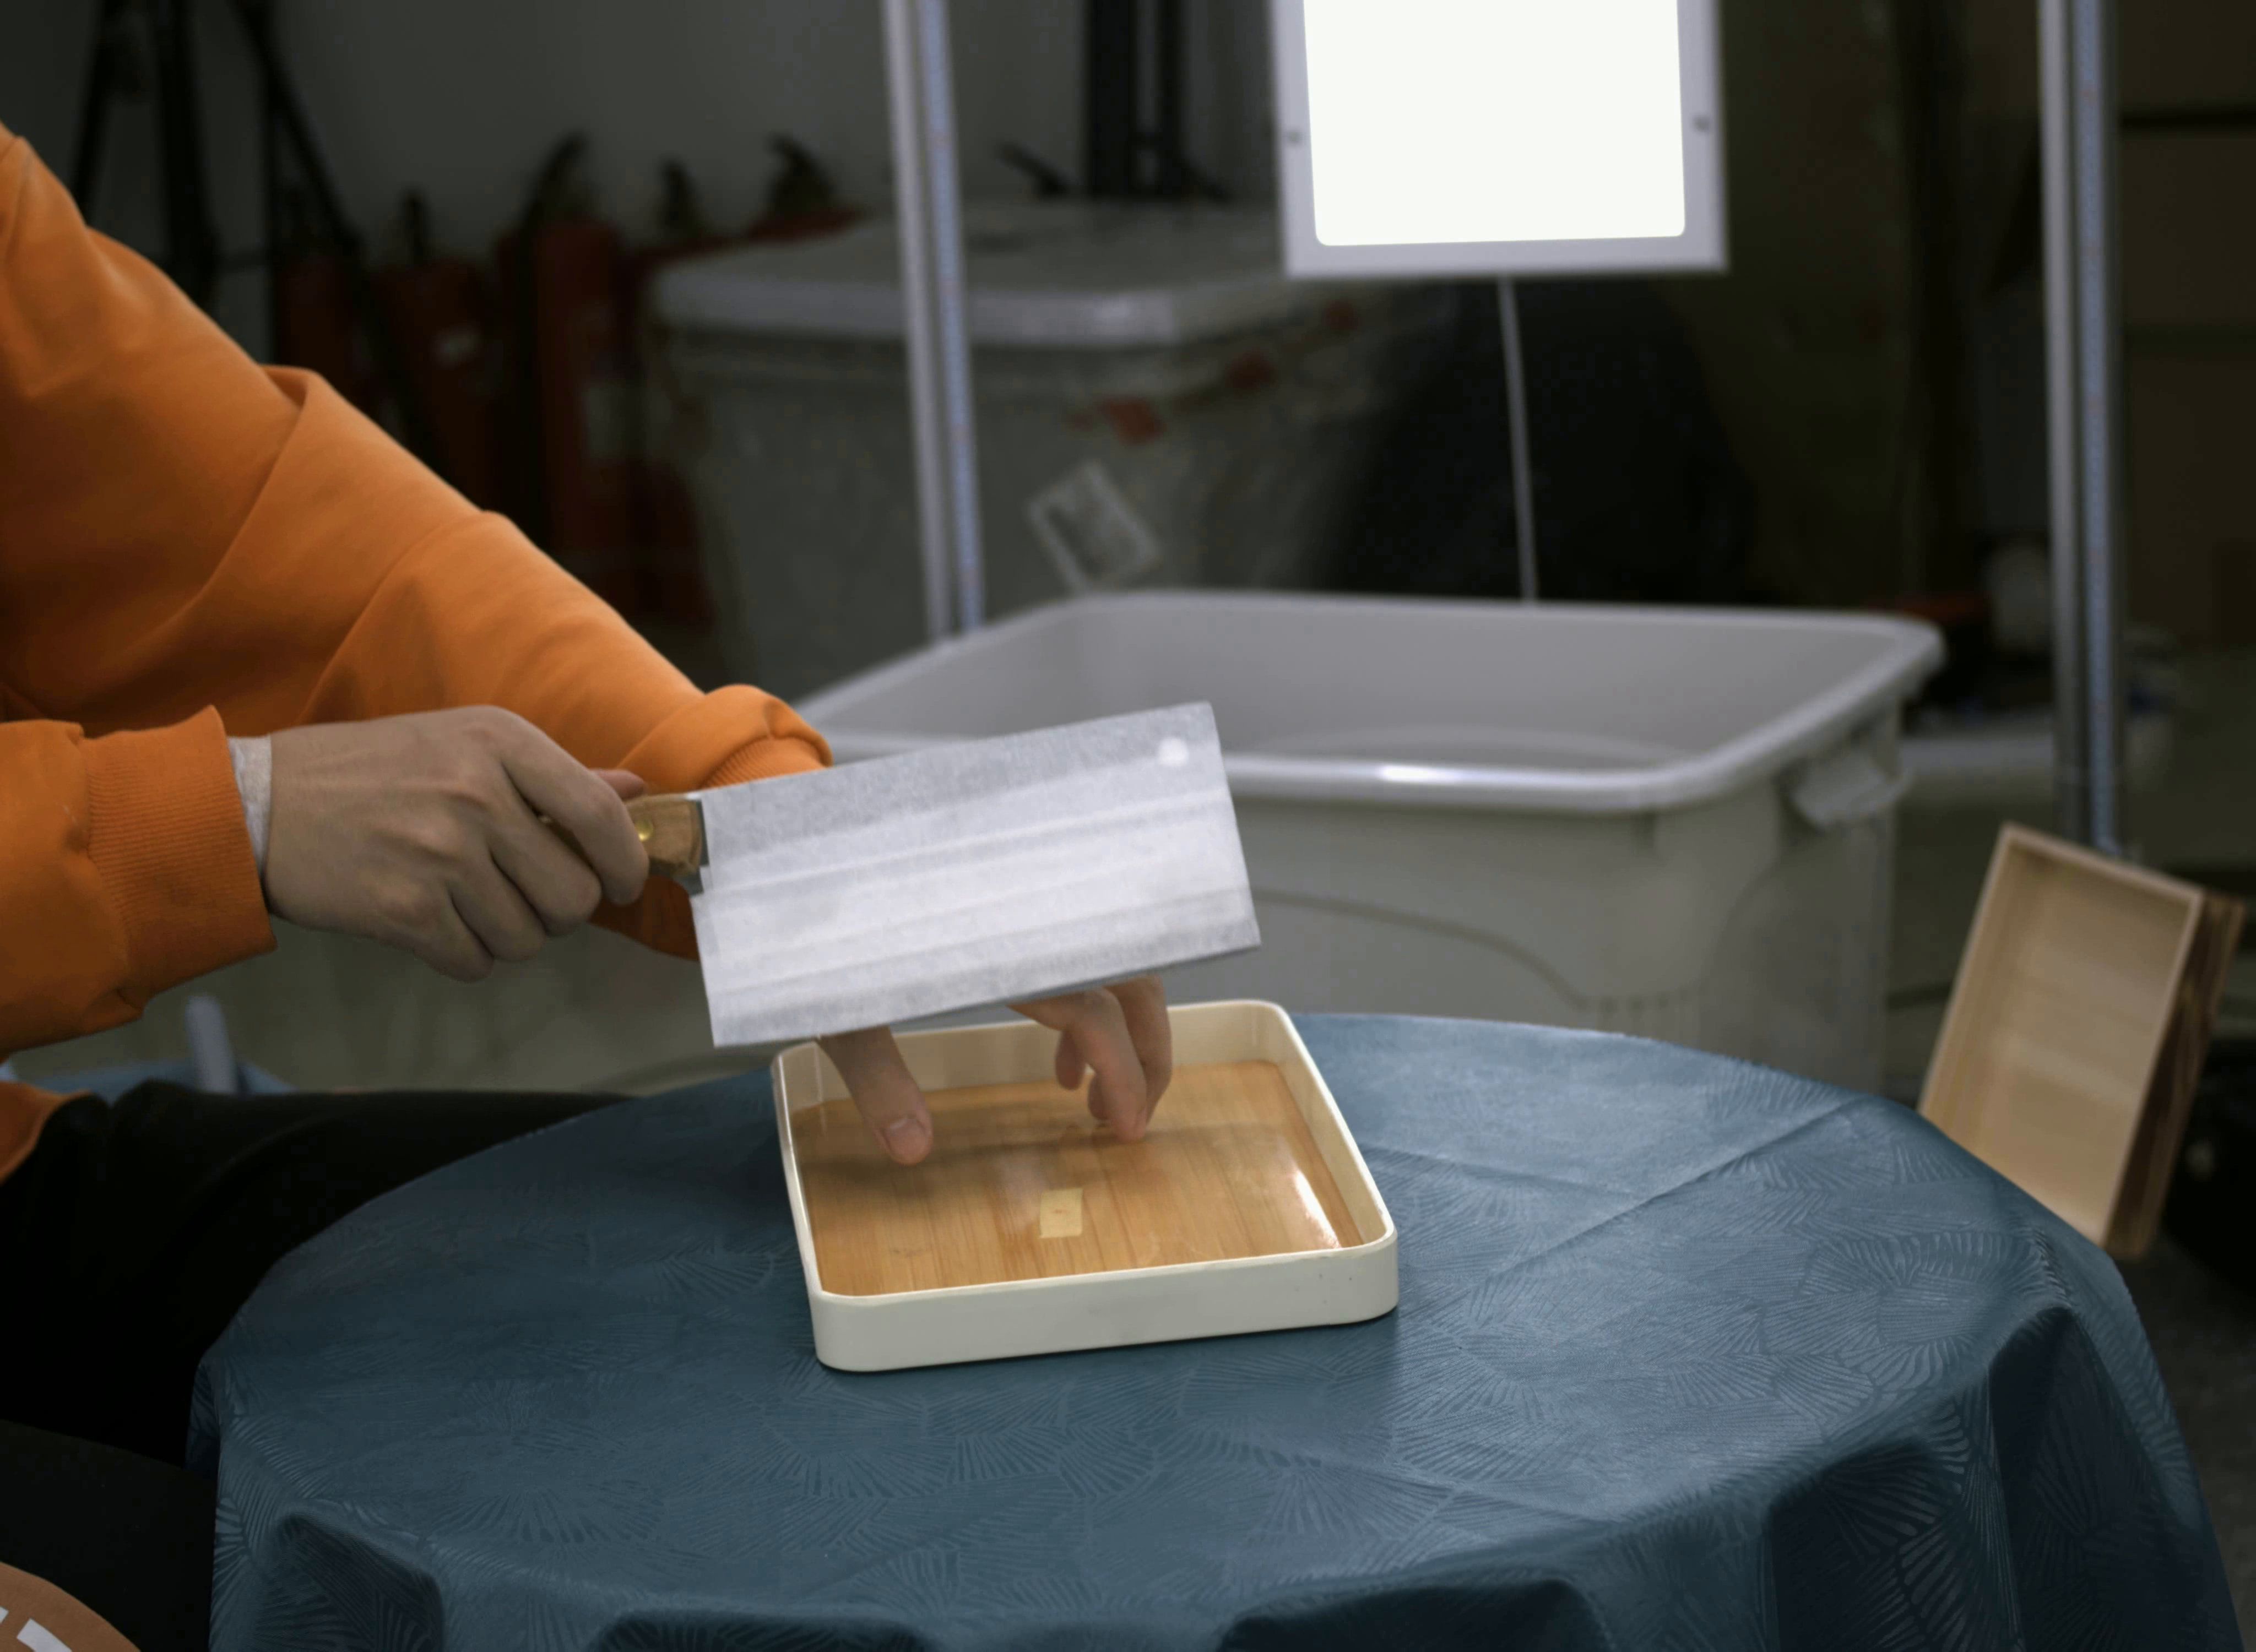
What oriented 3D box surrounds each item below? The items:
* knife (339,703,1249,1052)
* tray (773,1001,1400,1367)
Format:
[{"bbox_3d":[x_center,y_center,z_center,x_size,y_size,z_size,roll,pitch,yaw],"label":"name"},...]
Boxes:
[{"bbox_3d":[-0.111,0.026,1.869,0.304,0.093,0.021,-10,-12,-3],"label":"knife"},{"bbox_3d":[-0.020,0.118,1.879,0.190,0.027,0.301,-5,14,-4],"label":"tray"}]
